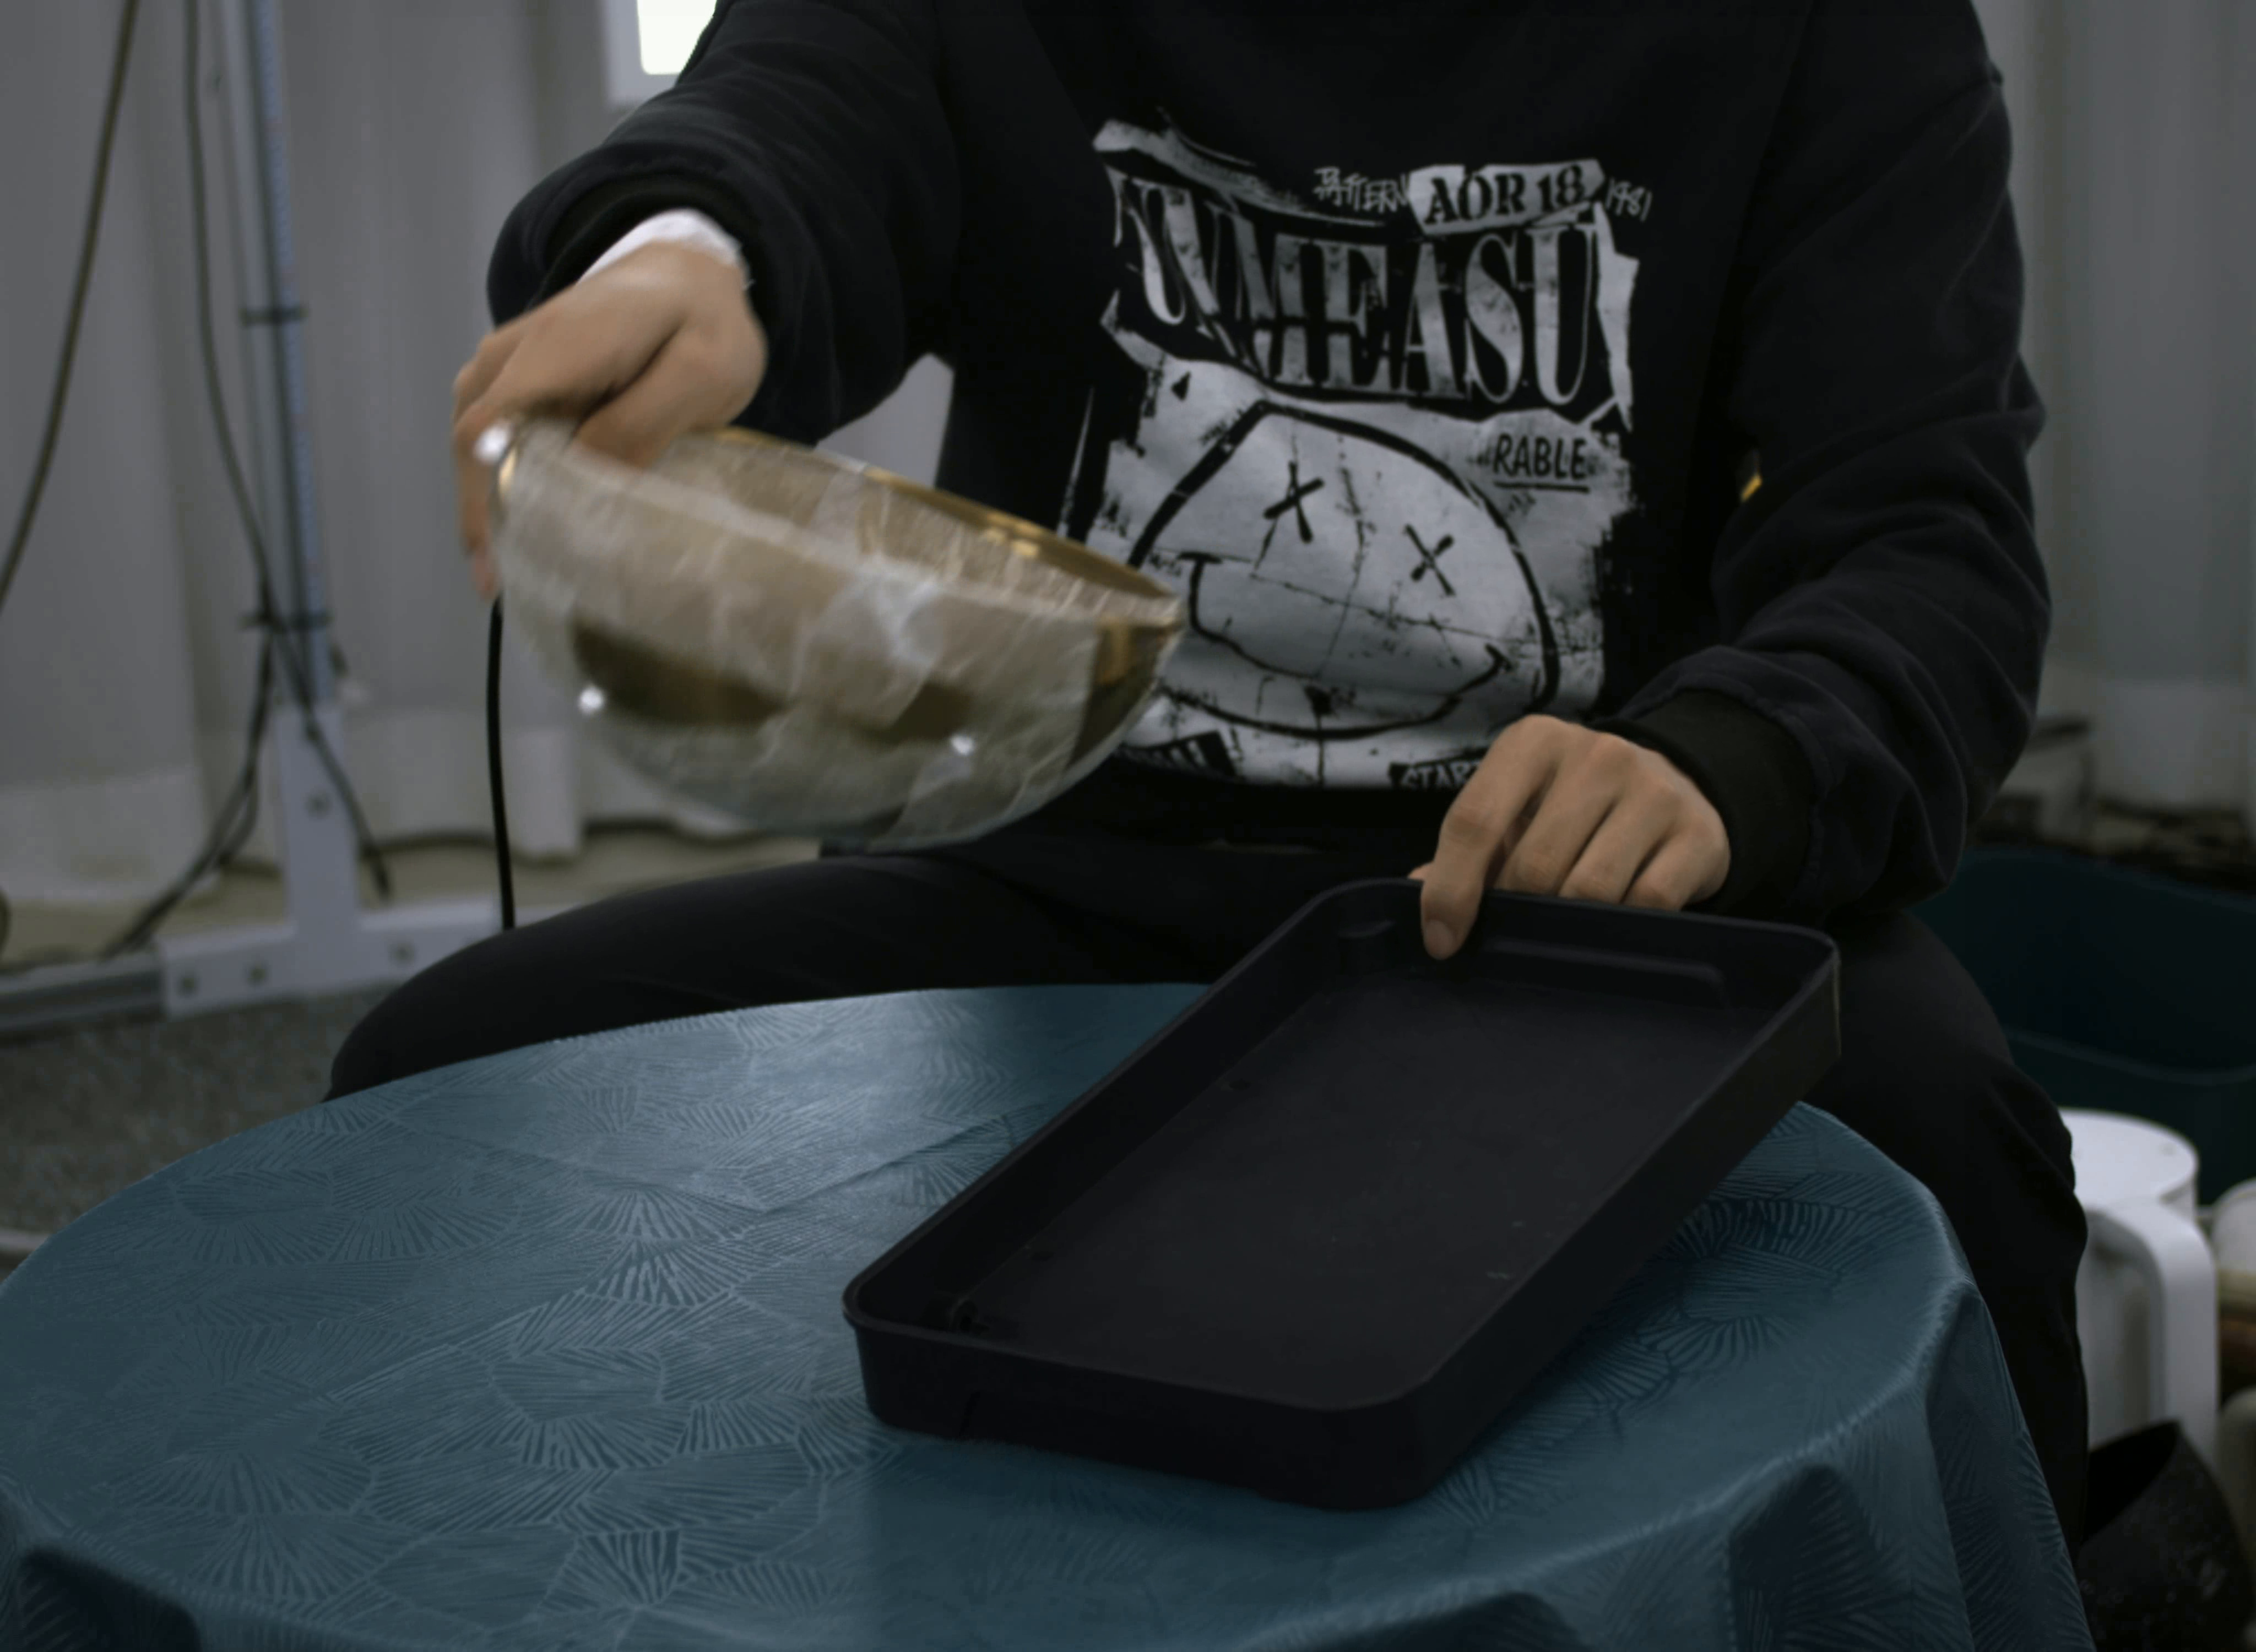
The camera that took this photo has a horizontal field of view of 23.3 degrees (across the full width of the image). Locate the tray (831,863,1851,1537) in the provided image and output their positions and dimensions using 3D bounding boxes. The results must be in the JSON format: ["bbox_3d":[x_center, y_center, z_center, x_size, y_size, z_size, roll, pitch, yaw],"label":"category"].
[{"bbox_3d":[0.070,0.101,1.602,0.185,0.037,0.319,9,29,31],"label":"tray"}]

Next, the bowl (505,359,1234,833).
[{"bbox_3d":[-0.084,-0.053,1.532,0.214,0.094,0.215,18,8,-3],"label":"bowl"}]
